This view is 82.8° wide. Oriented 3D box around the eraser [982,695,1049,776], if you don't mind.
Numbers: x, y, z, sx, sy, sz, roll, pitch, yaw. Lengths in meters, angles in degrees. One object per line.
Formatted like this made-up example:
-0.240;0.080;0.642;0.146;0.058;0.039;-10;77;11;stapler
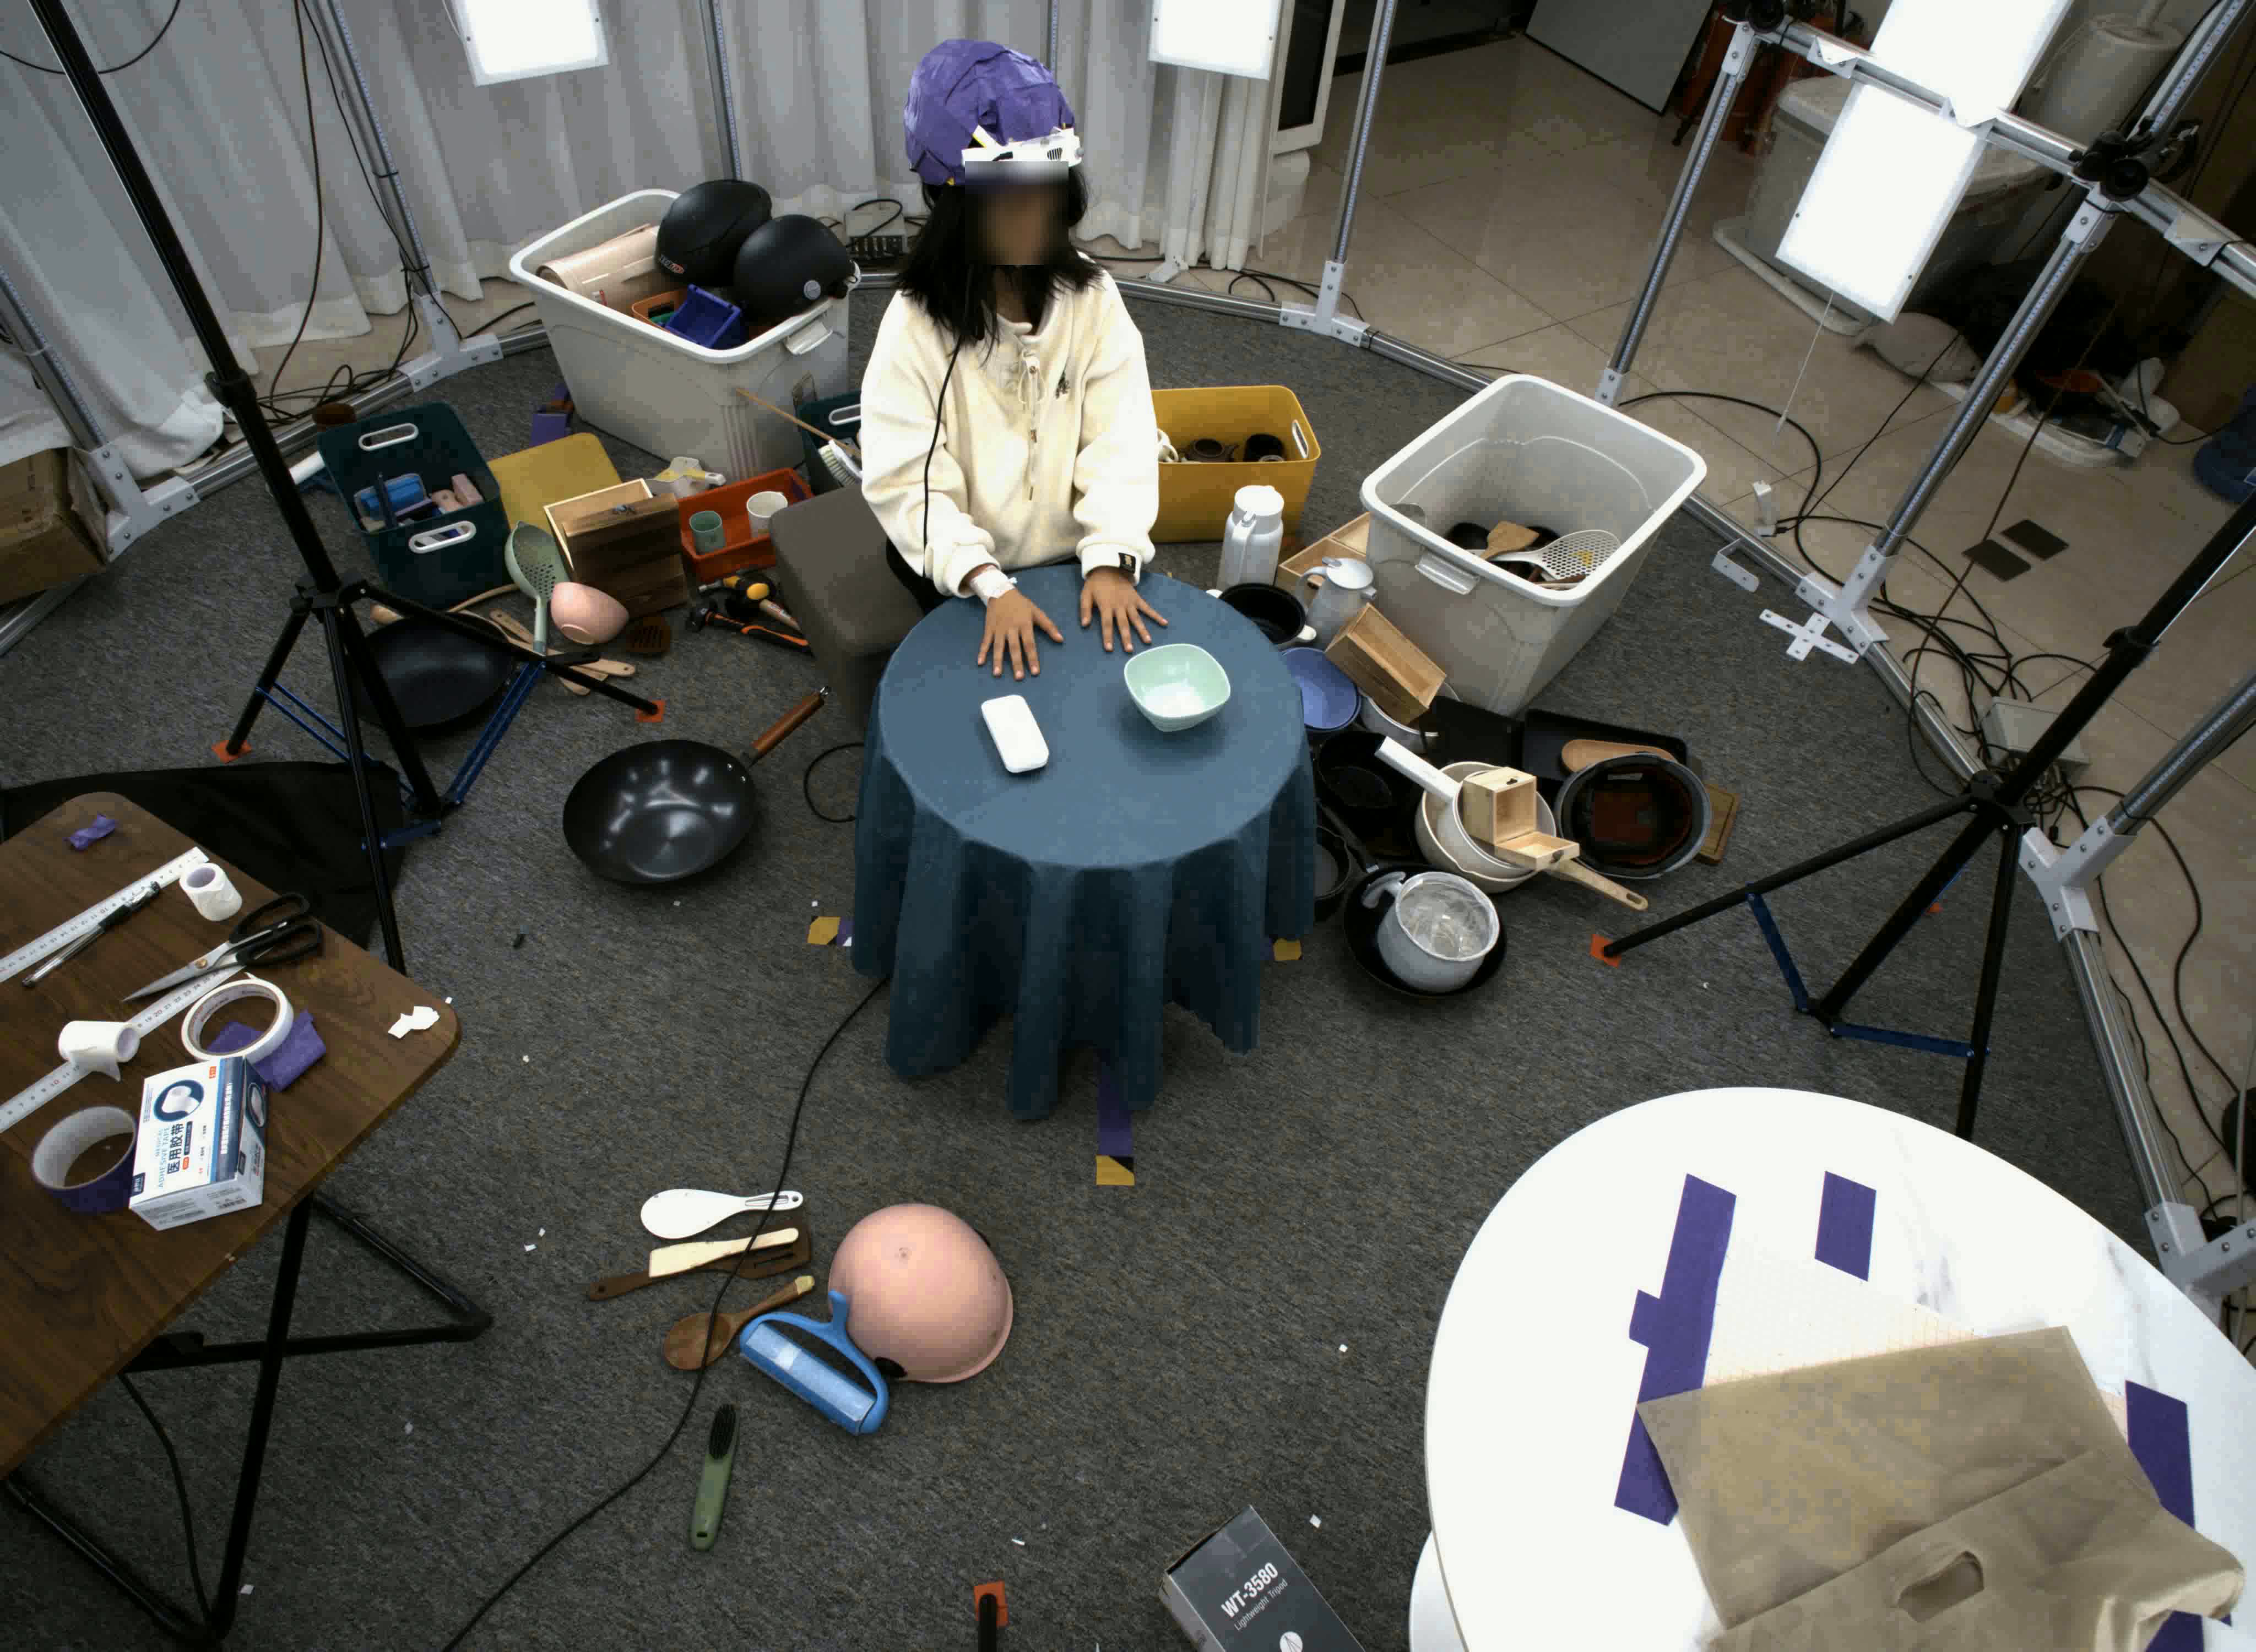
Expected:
-0.153;-0.126;1.750;0.063;0.034;0.134;-14;52;-16;eraser

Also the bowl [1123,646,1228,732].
0.064;-0.183;1.798;0.151;0.057;0.155;3;48;-4;bowl
